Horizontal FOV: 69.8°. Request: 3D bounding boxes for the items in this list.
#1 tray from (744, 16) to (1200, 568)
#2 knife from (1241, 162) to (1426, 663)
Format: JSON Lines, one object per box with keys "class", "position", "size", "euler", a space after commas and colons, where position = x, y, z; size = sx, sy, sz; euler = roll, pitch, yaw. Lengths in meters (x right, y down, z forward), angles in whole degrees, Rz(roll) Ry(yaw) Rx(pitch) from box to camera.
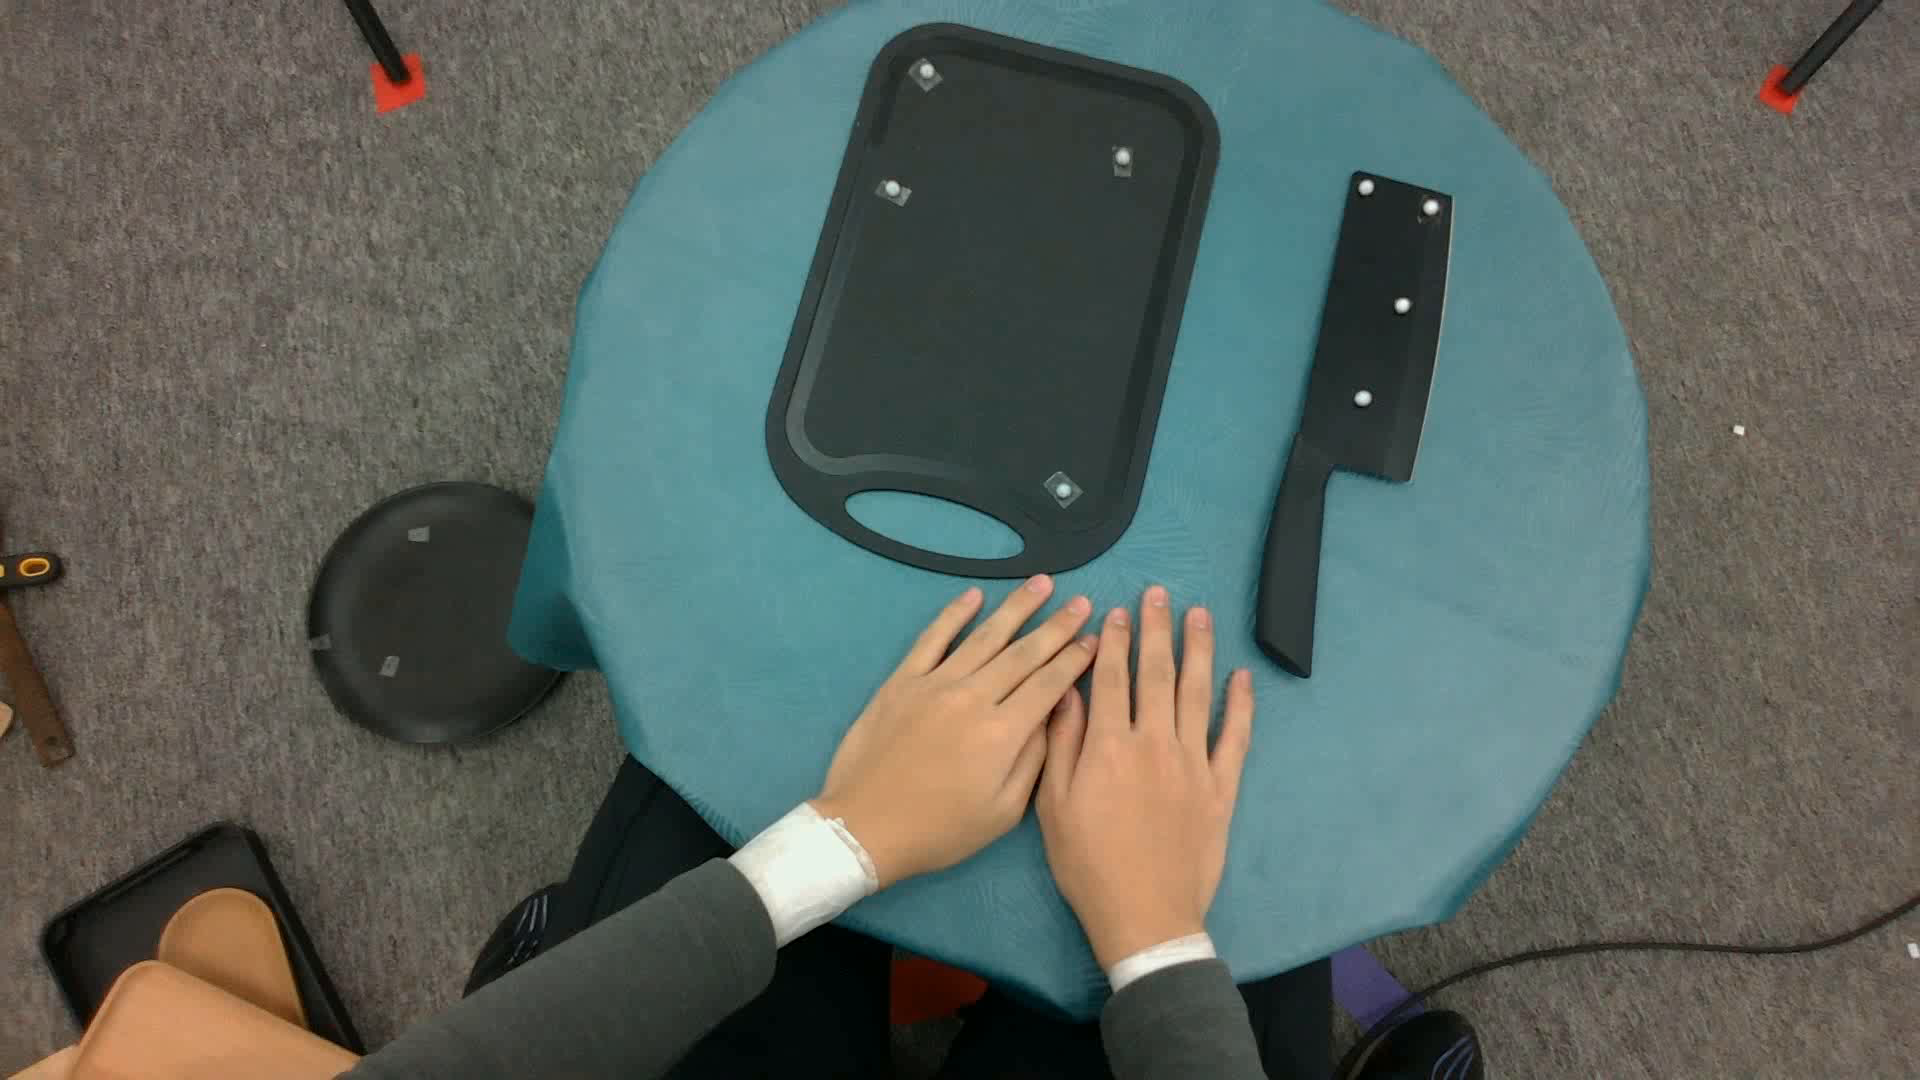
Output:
{"class": "tray", "position": [0.010, -0.143, 0.773], "size": [0.211, 0.010, 0.326], "euler": [14, 75, 1]}
{"class": "knife", "position": [0.207, -0.077, 0.762], "size": [0.081, 0.021, 0.303], "euler": [18, 73, 1]}
